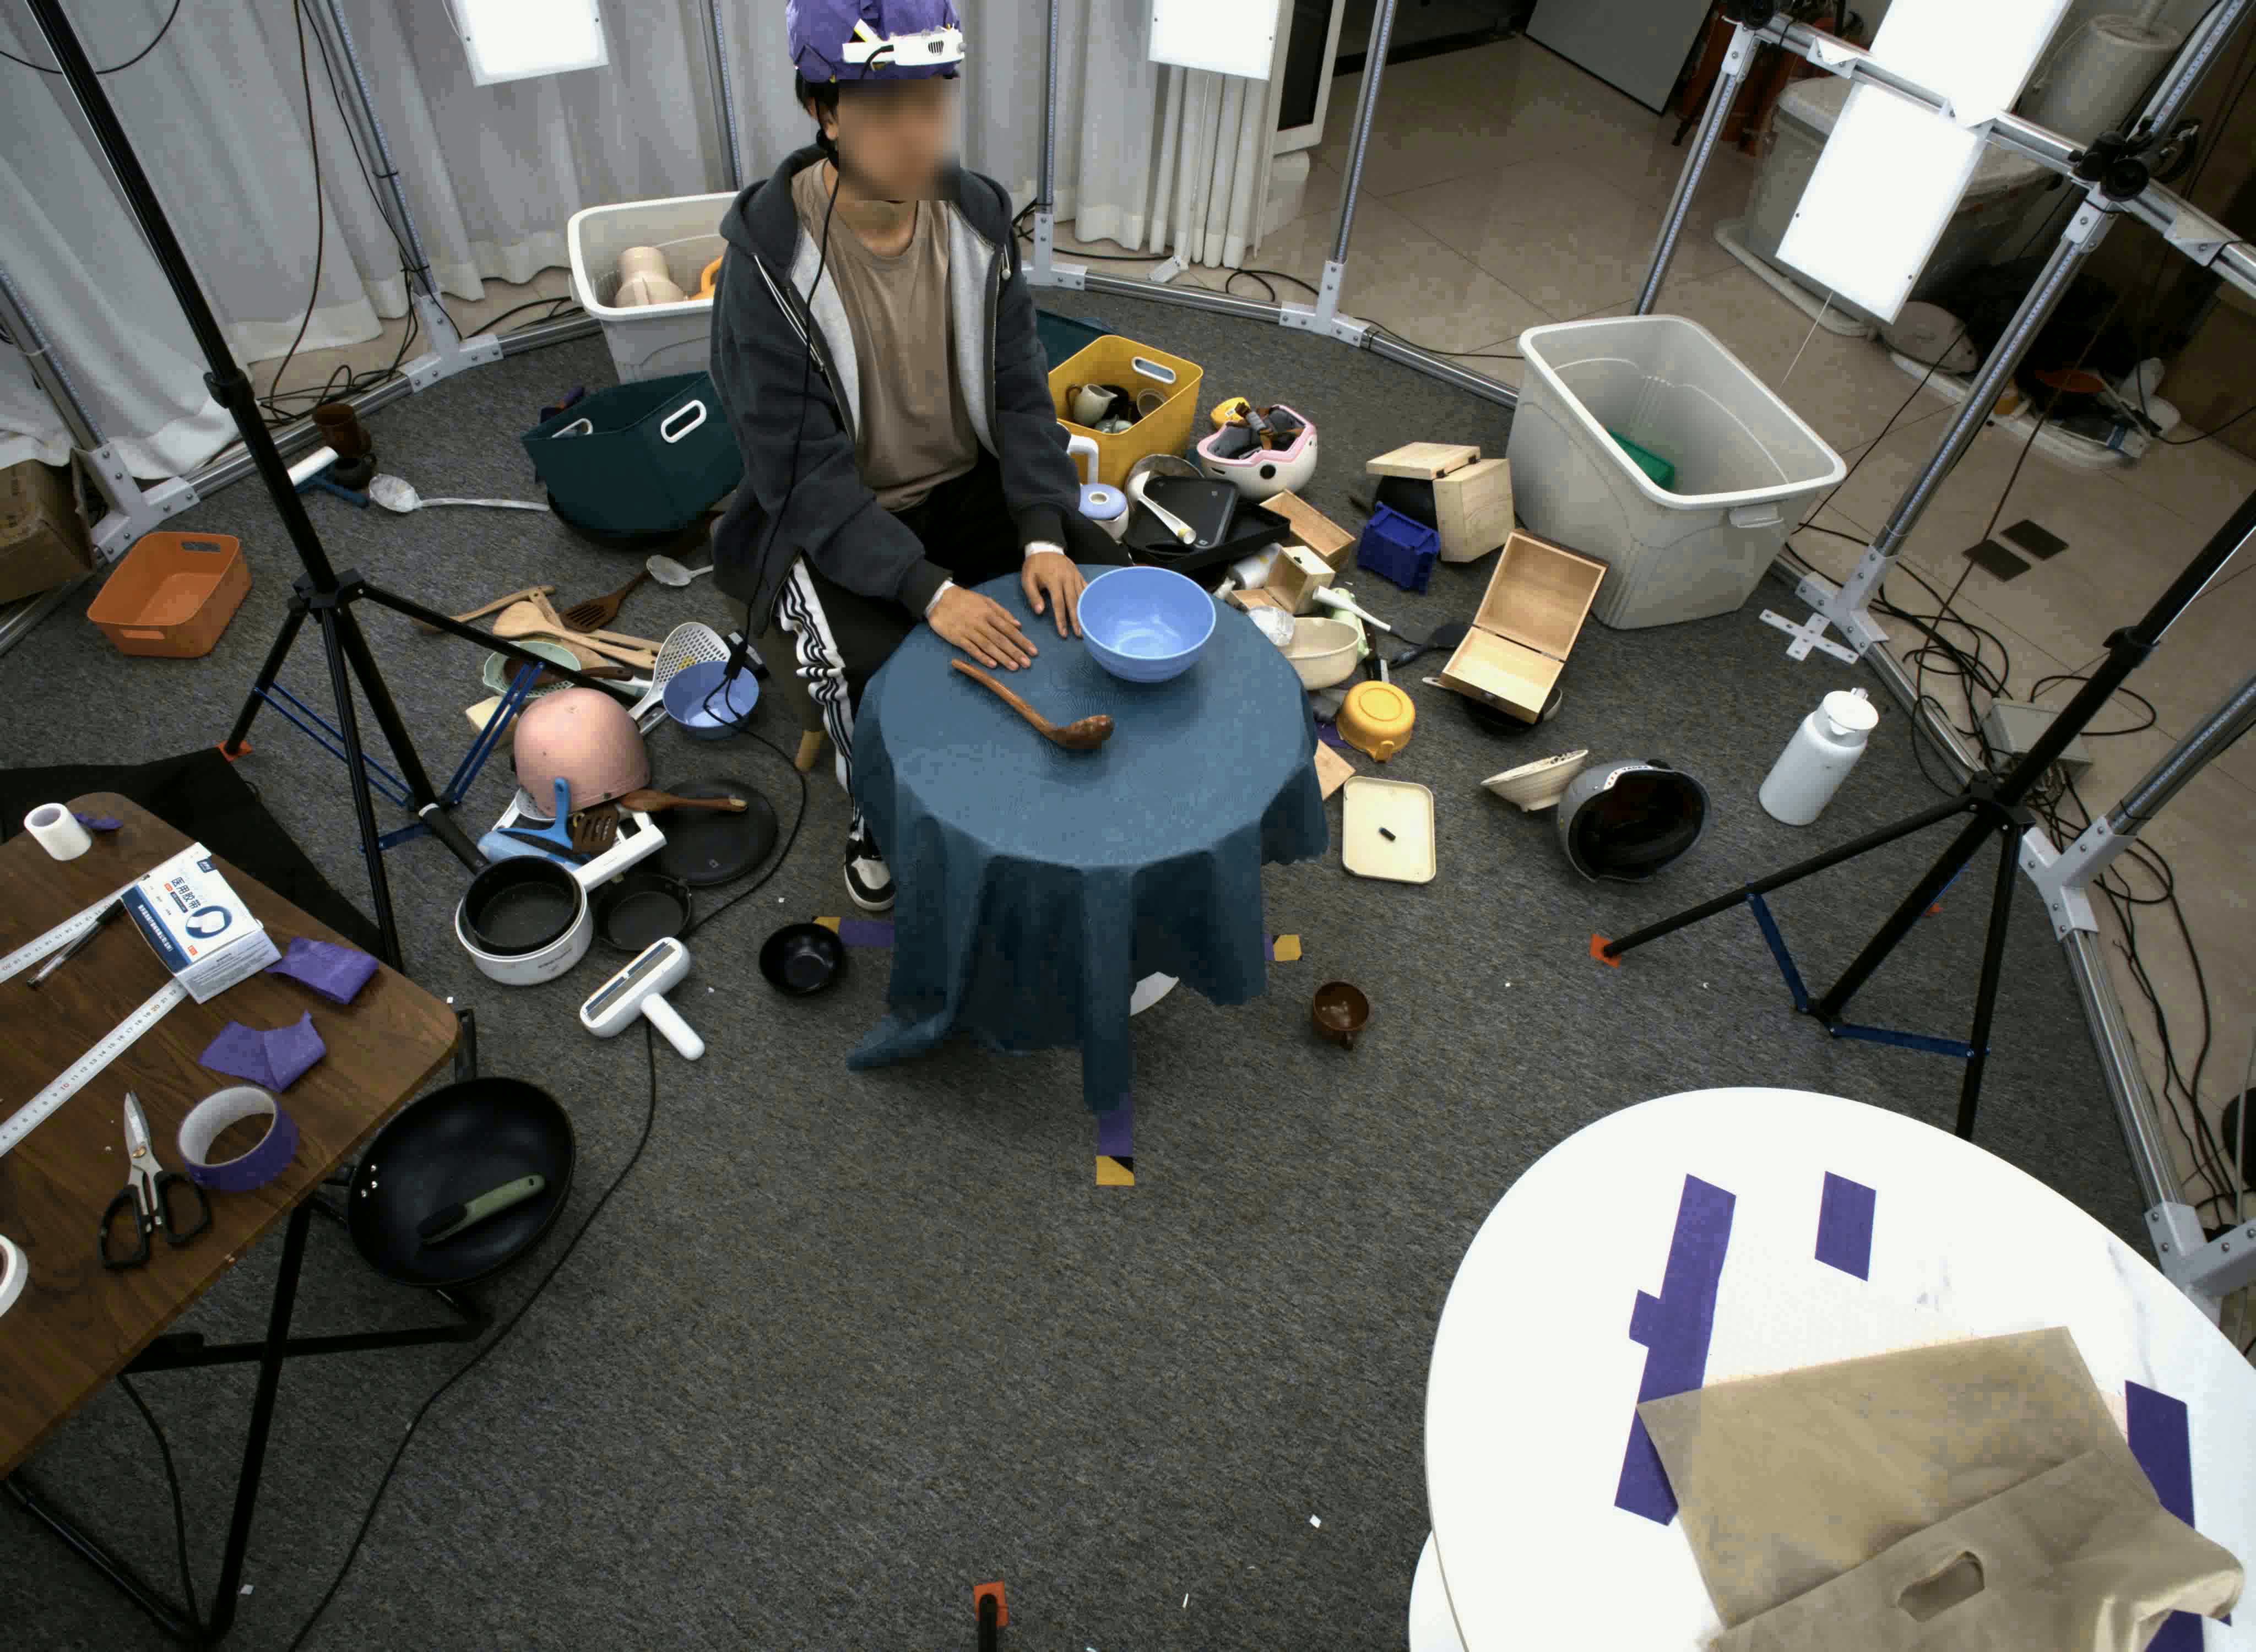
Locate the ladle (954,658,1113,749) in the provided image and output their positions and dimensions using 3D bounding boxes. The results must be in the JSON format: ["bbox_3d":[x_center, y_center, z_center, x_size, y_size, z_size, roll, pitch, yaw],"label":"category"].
[{"bbox_3d":[-0.134,-0.188,1.775,0.278,0.076,0.081,38,18,27],"label":"ladle"}]

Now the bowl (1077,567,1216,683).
[{"bbox_3d":[0.024,-0.273,1.845,0.196,0.093,0.201,1,49,-2],"label":"bowl"}]
